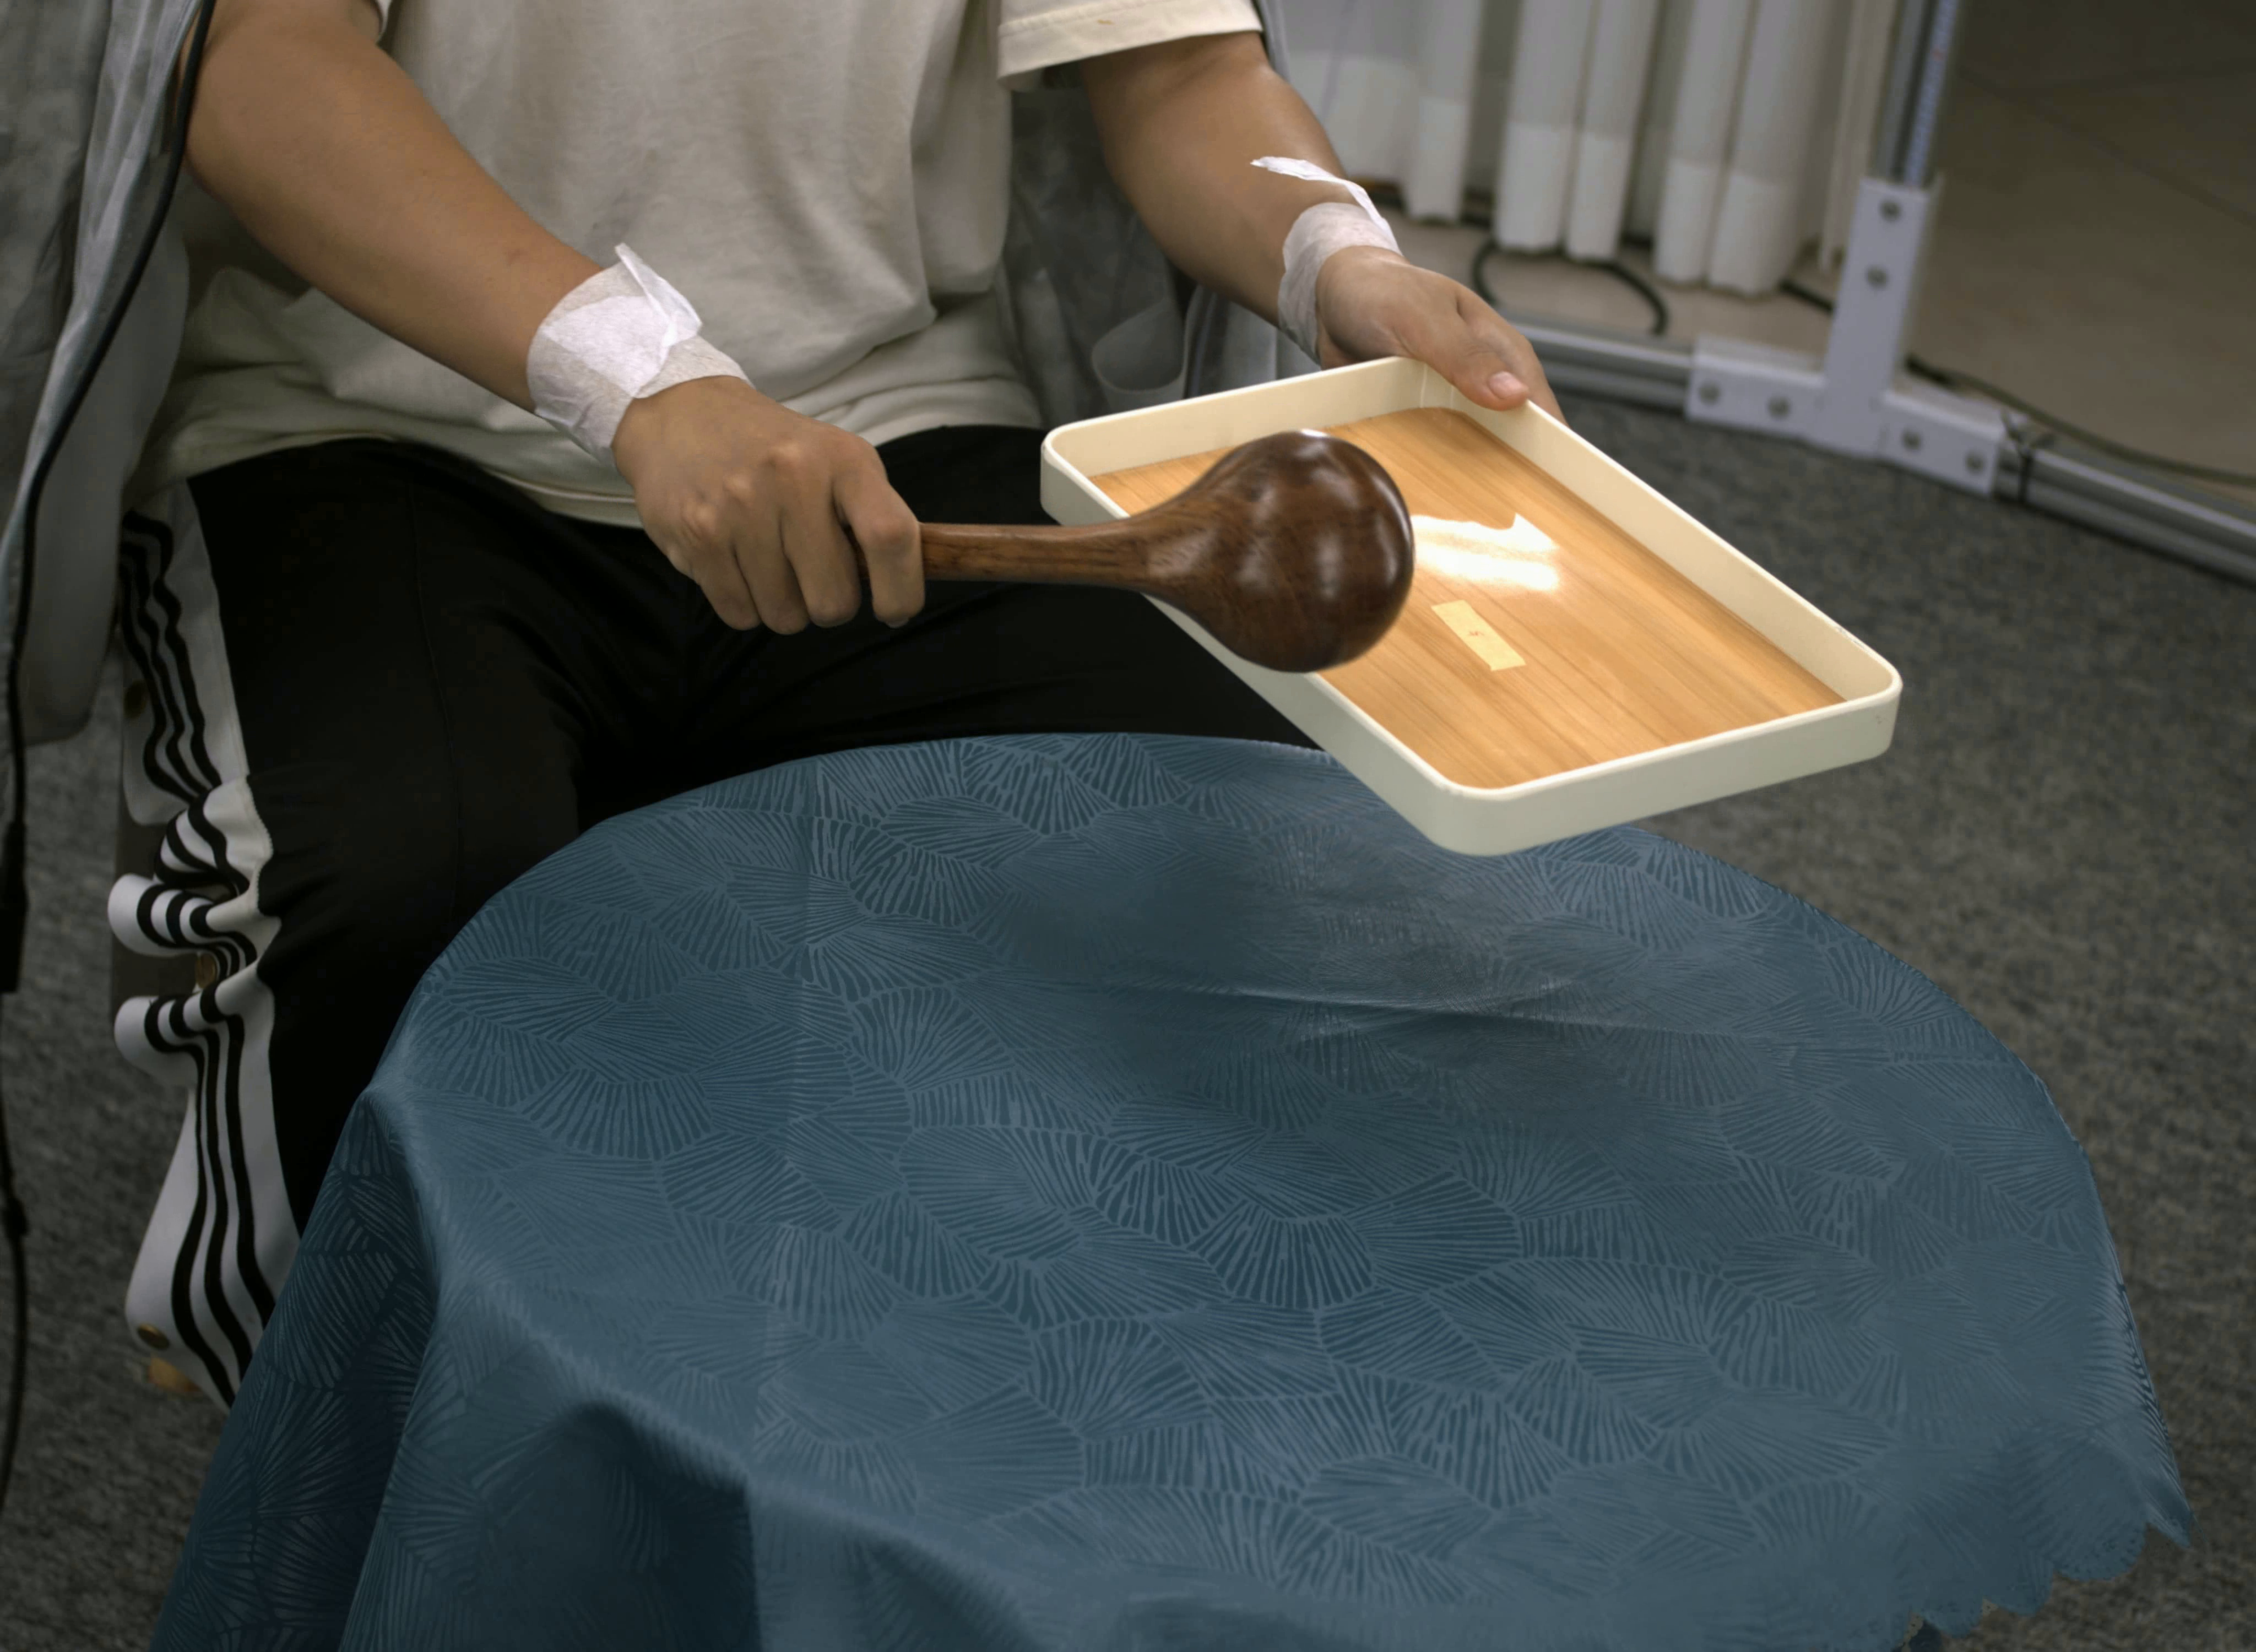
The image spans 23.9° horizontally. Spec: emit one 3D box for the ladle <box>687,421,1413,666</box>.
[{"bbox_3d":[-0.028,-0.095,1.840,0.275,0.082,0.076,0,-3,38],"label":"ladle"}]

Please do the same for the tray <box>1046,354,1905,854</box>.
[{"bbox_3d":[0.119,-0.085,1.906,0.190,0.027,0.303,-14,34,-26],"label":"tray"}]
